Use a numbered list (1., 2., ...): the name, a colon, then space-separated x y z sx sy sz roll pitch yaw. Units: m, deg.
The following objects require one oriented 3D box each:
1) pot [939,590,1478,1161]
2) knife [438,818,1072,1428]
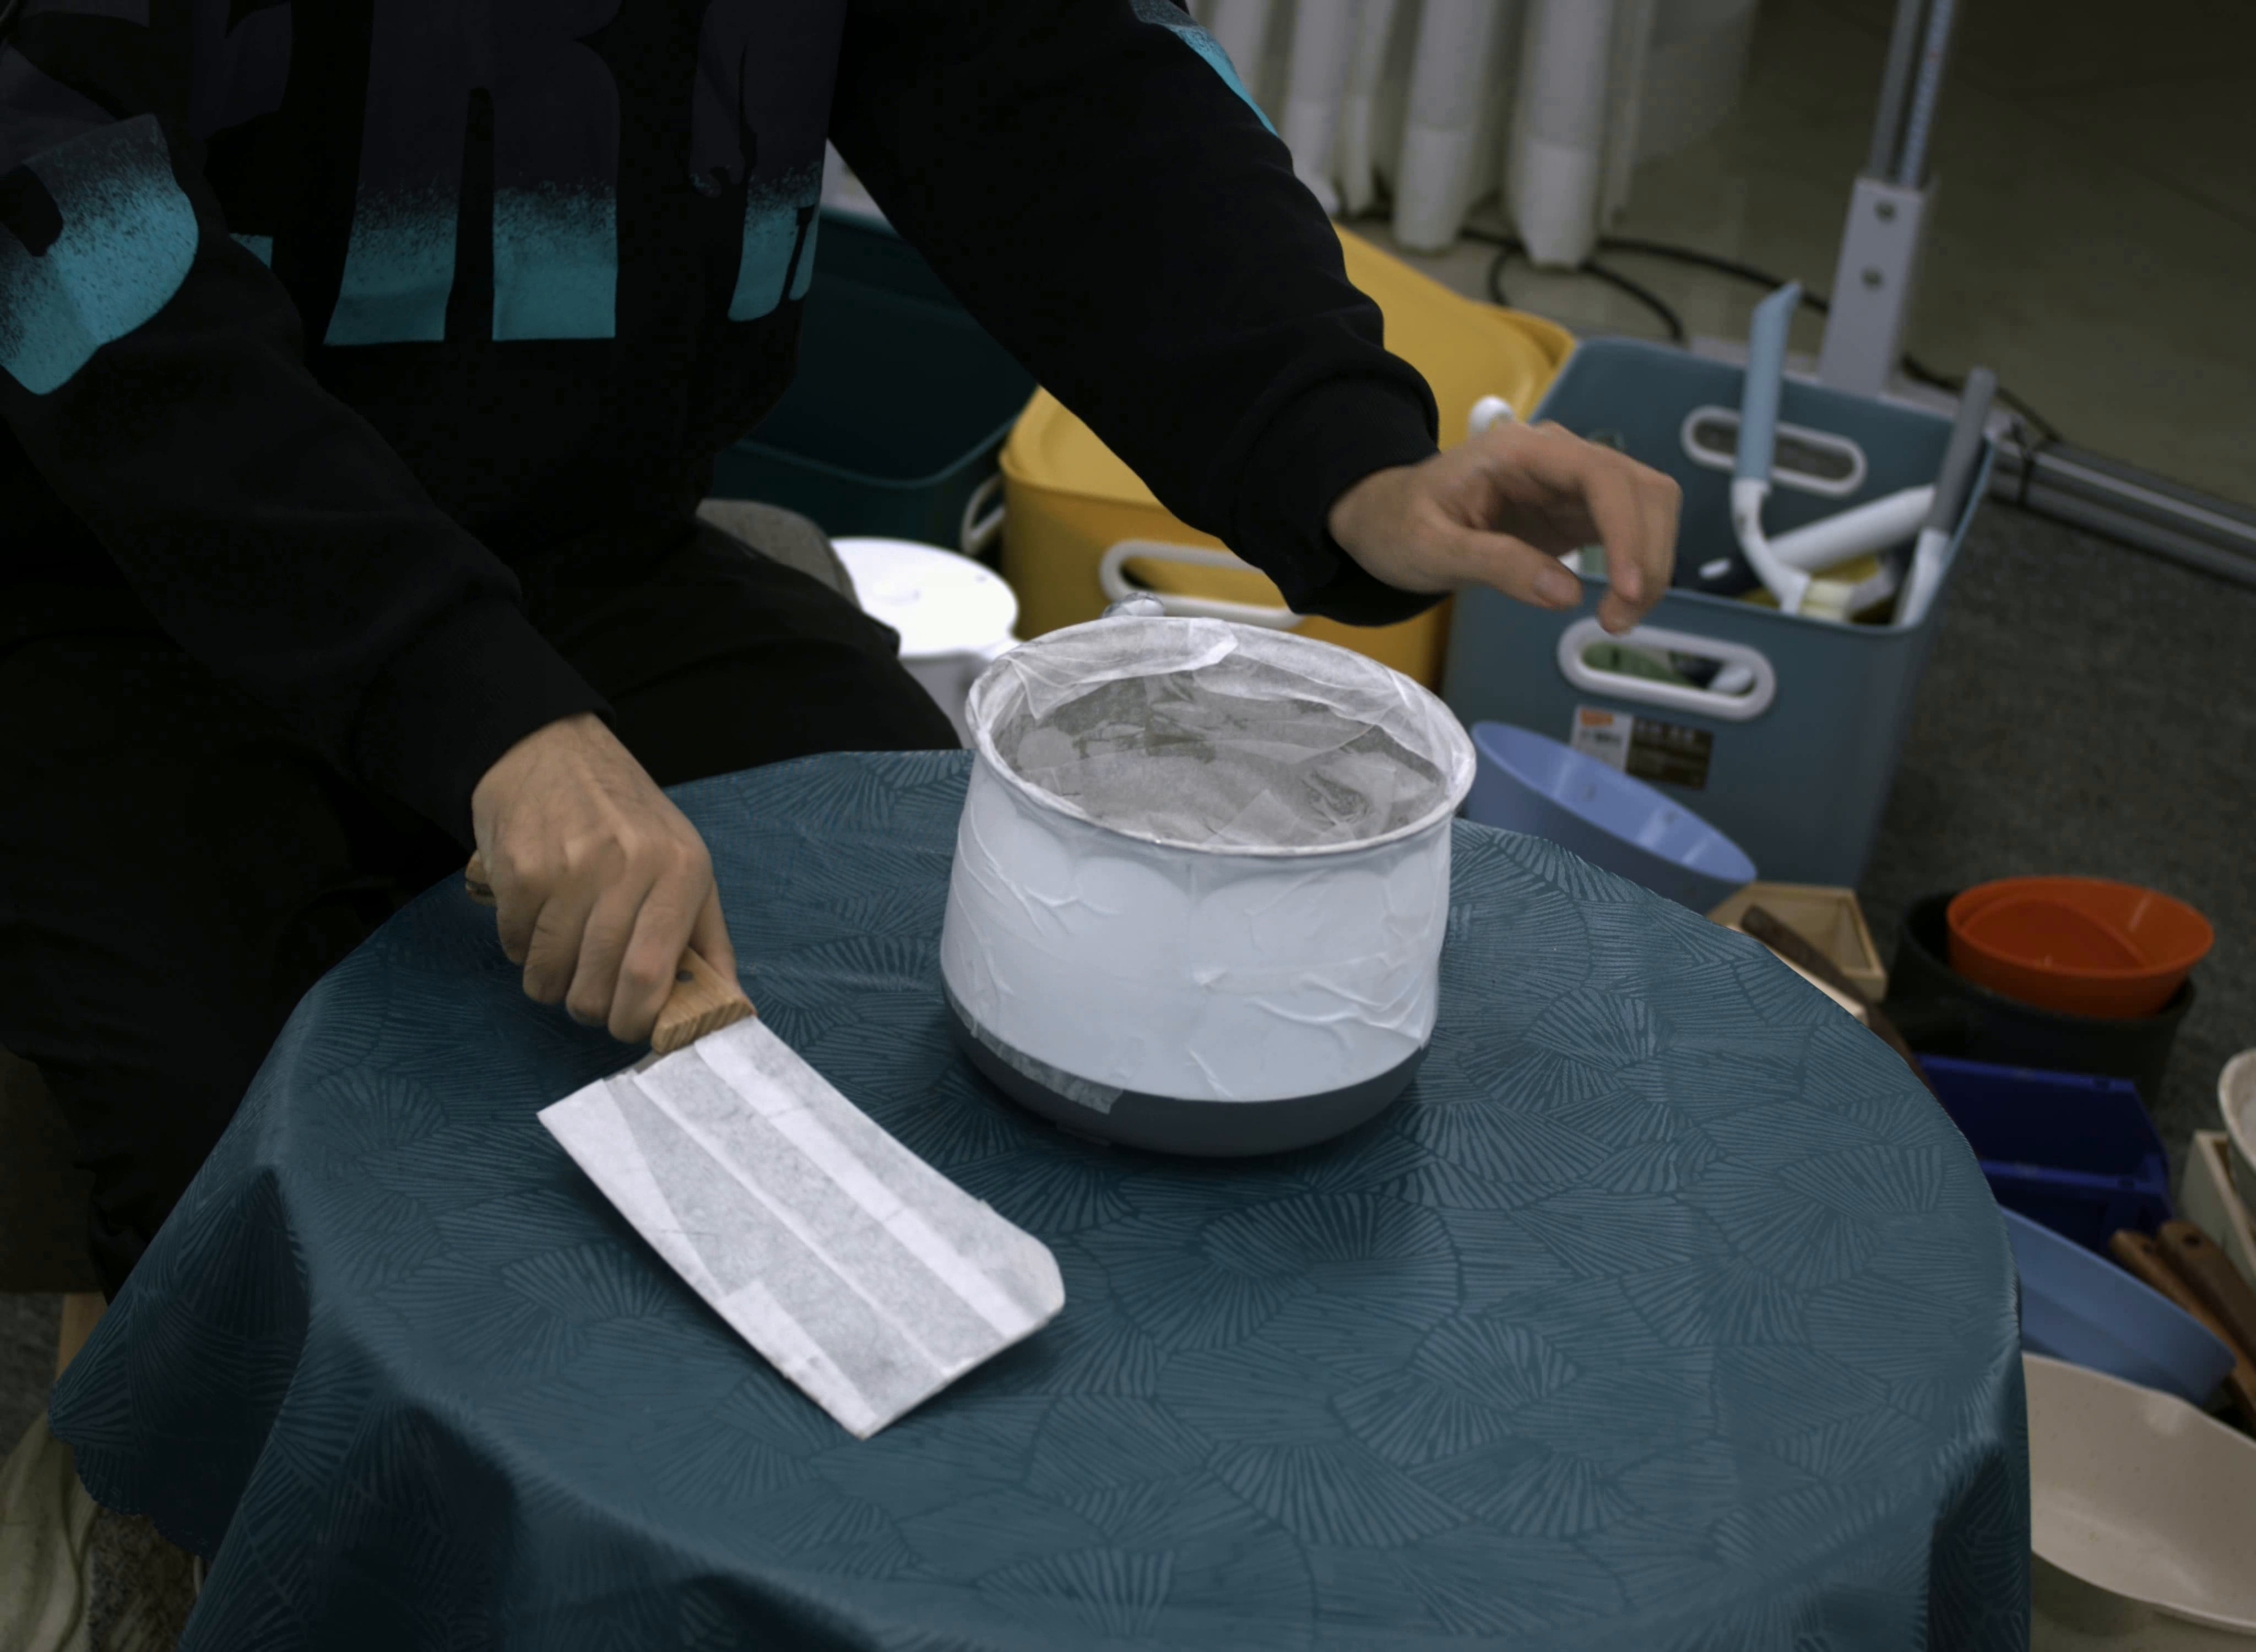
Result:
1. pot: 0.017 0.010 1.878 0.177 0.136 0.236 -2 29 -18
2. knife: -0.137 0.090 1.771 0.113 0.021 0.318 -24 46 -25
